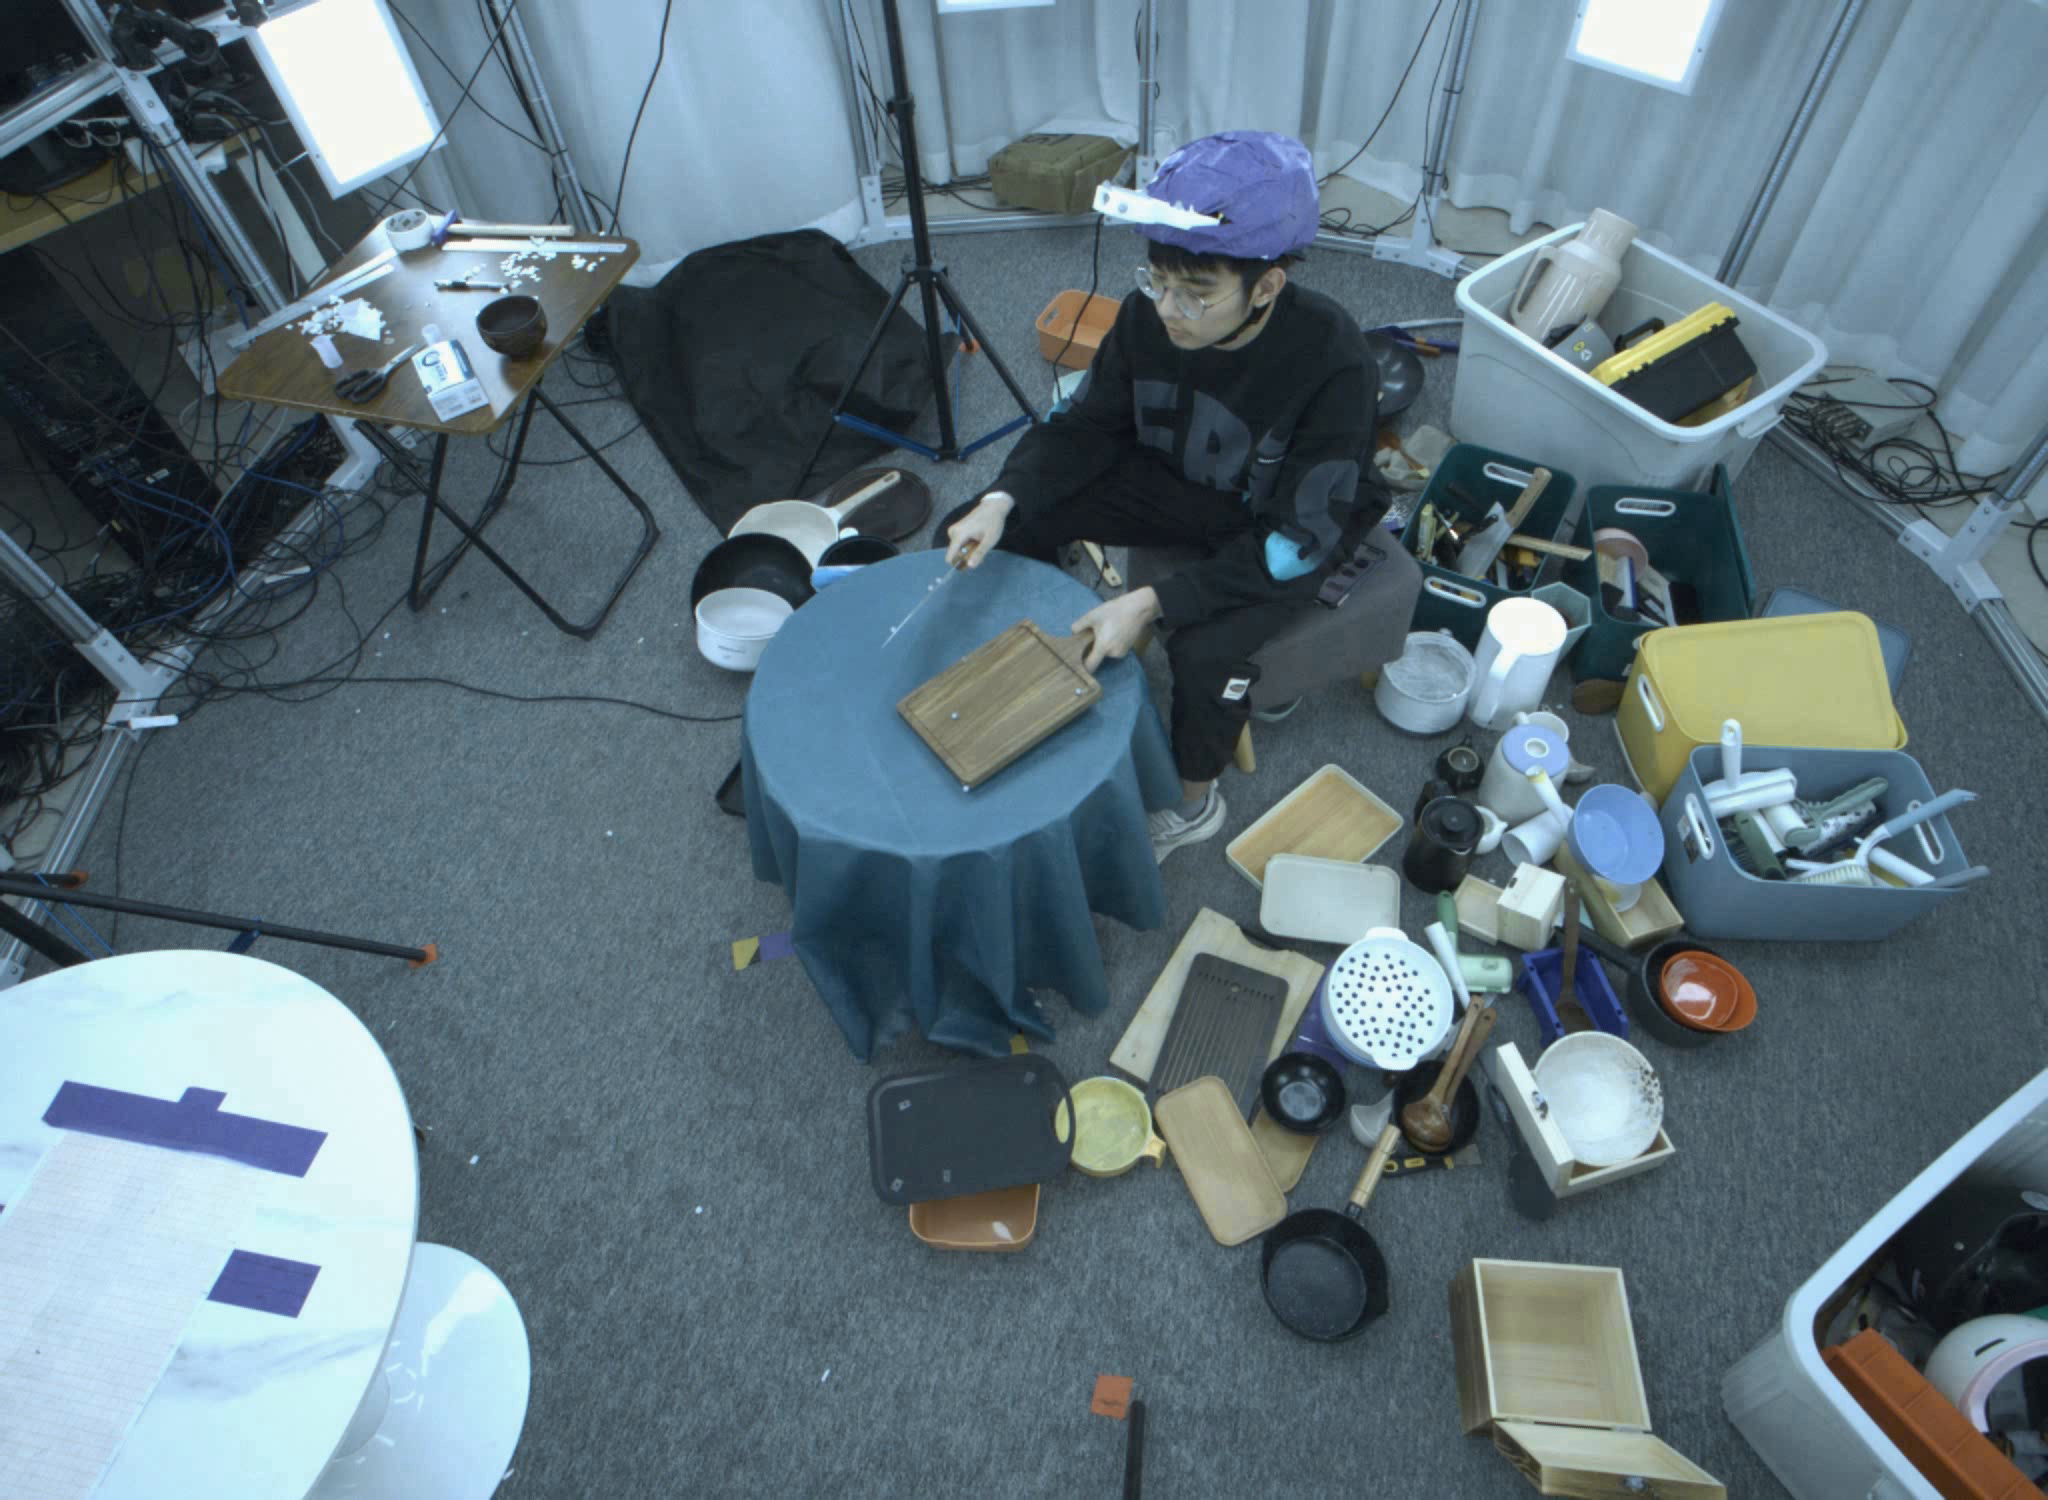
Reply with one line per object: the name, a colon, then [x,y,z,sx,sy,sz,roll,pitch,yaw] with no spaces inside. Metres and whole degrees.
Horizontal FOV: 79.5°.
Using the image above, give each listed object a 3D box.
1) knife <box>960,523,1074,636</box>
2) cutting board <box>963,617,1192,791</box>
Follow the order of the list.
knife: [-0.013,-0.260,1.879,0.021,0.092,0.307,44,44,-5]
cutting board: [0.104,-0.096,1.814,0.354,0.023,0.197,-32,57,-13]
